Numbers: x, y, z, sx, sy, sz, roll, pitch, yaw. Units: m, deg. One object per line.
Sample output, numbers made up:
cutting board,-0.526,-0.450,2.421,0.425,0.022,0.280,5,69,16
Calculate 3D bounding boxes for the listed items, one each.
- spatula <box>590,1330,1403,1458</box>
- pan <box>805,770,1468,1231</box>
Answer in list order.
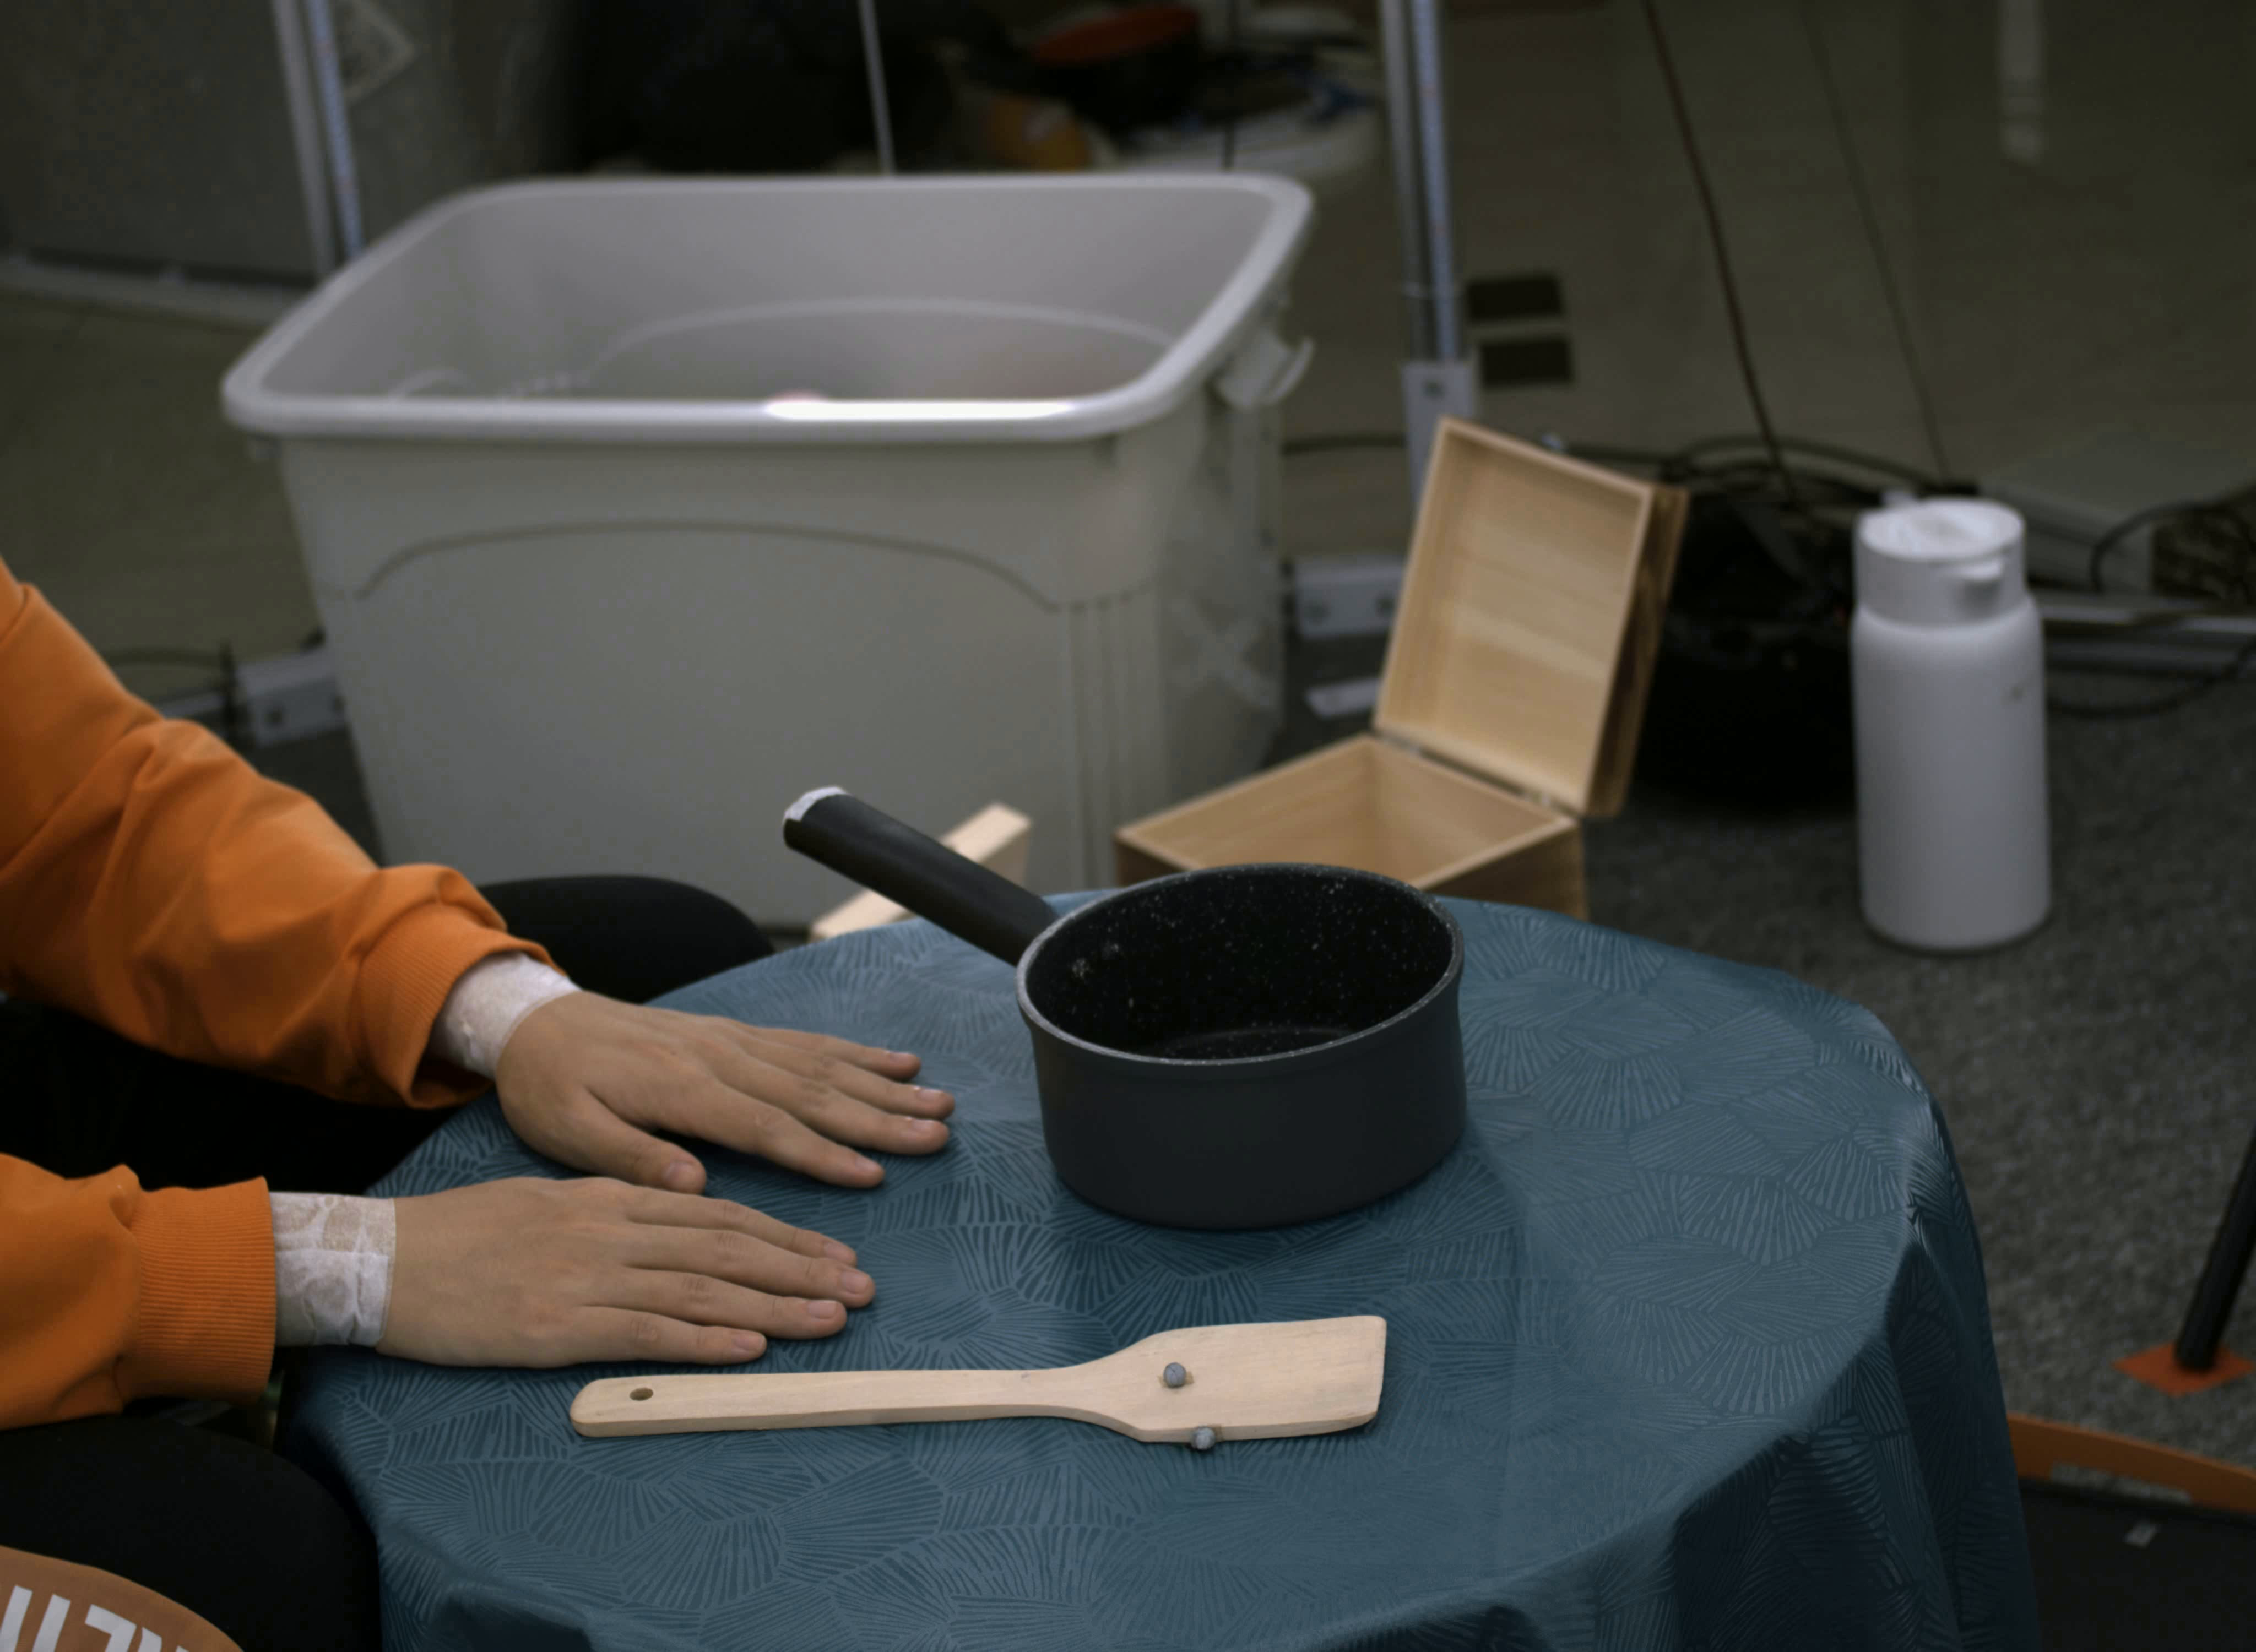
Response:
spatula,-0.048,0.207,2.022,0.292,0.011,0.071,-3,28,6
pan,-0.009,0.062,2.214,0.170,0.088,0.326,-26,33,-37
